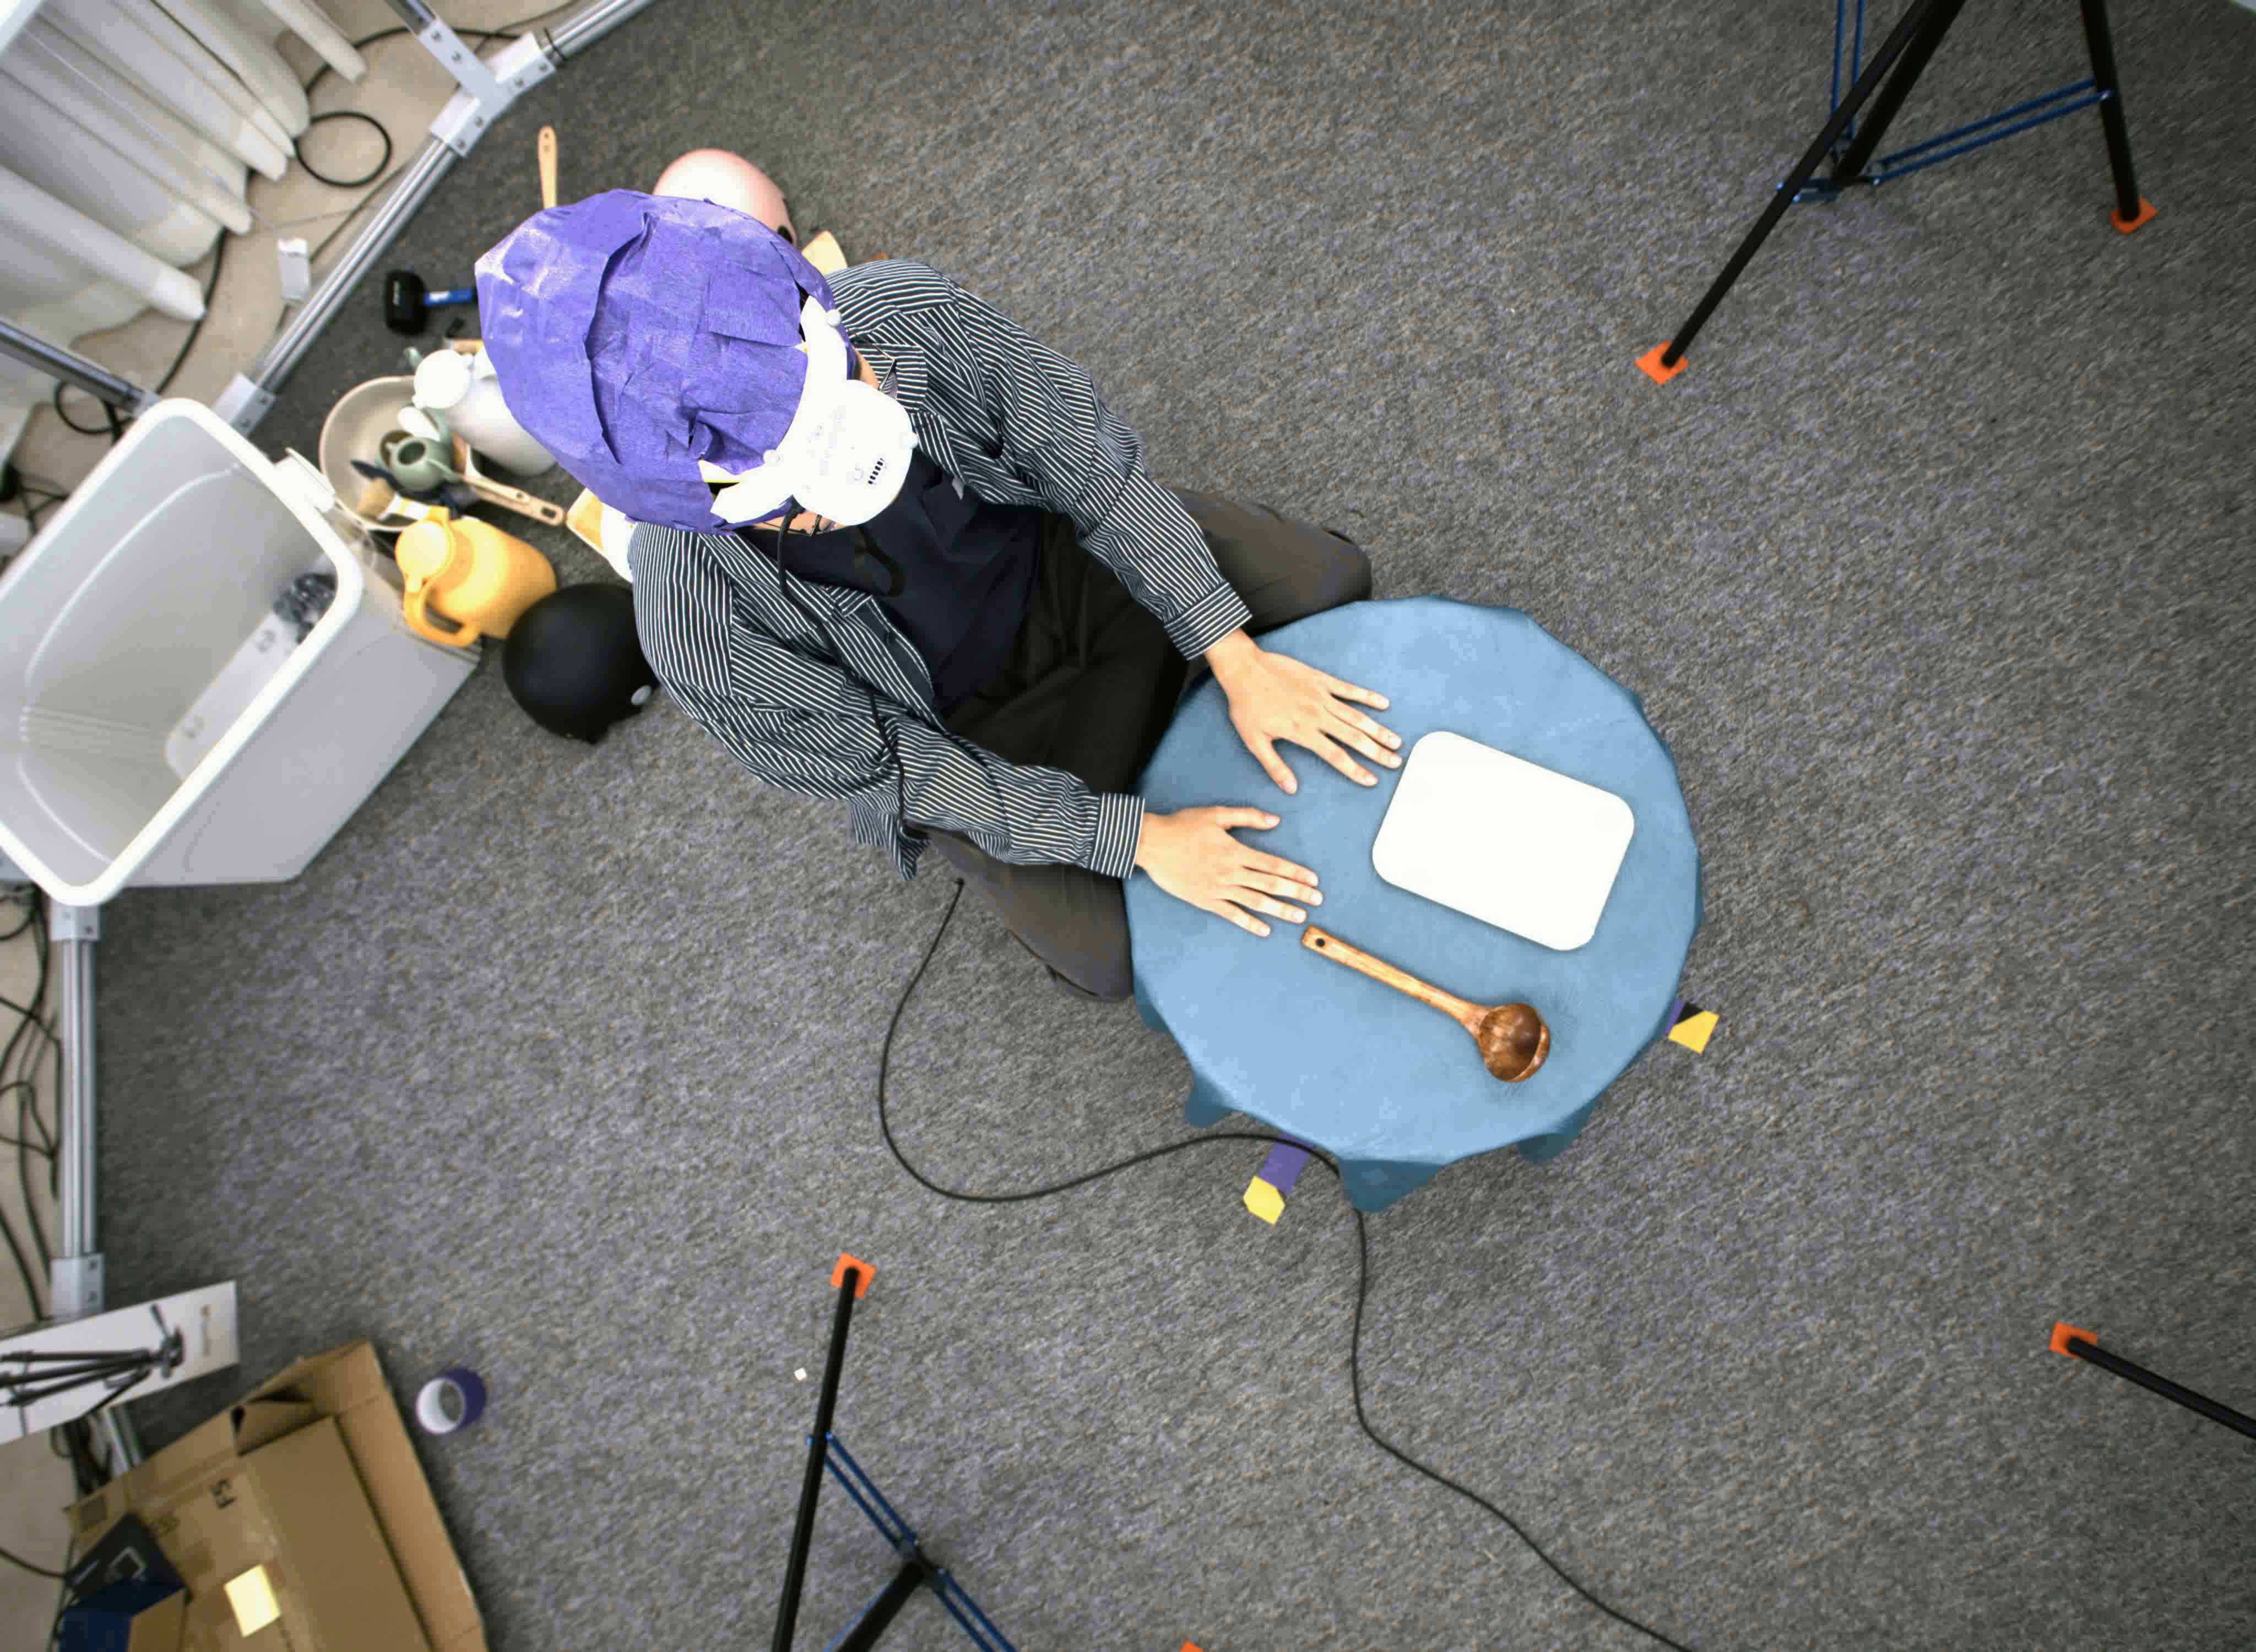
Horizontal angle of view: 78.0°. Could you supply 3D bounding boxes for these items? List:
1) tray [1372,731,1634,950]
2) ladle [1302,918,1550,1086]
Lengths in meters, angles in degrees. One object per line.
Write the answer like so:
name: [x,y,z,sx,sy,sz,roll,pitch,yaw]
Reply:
tray: [0.386,0.012,1.421,0.239,0.017,0.171,22,91,11]
ladle: [0.297,0.170,1.401,0.274,0.076,0.082,28,96,10]
